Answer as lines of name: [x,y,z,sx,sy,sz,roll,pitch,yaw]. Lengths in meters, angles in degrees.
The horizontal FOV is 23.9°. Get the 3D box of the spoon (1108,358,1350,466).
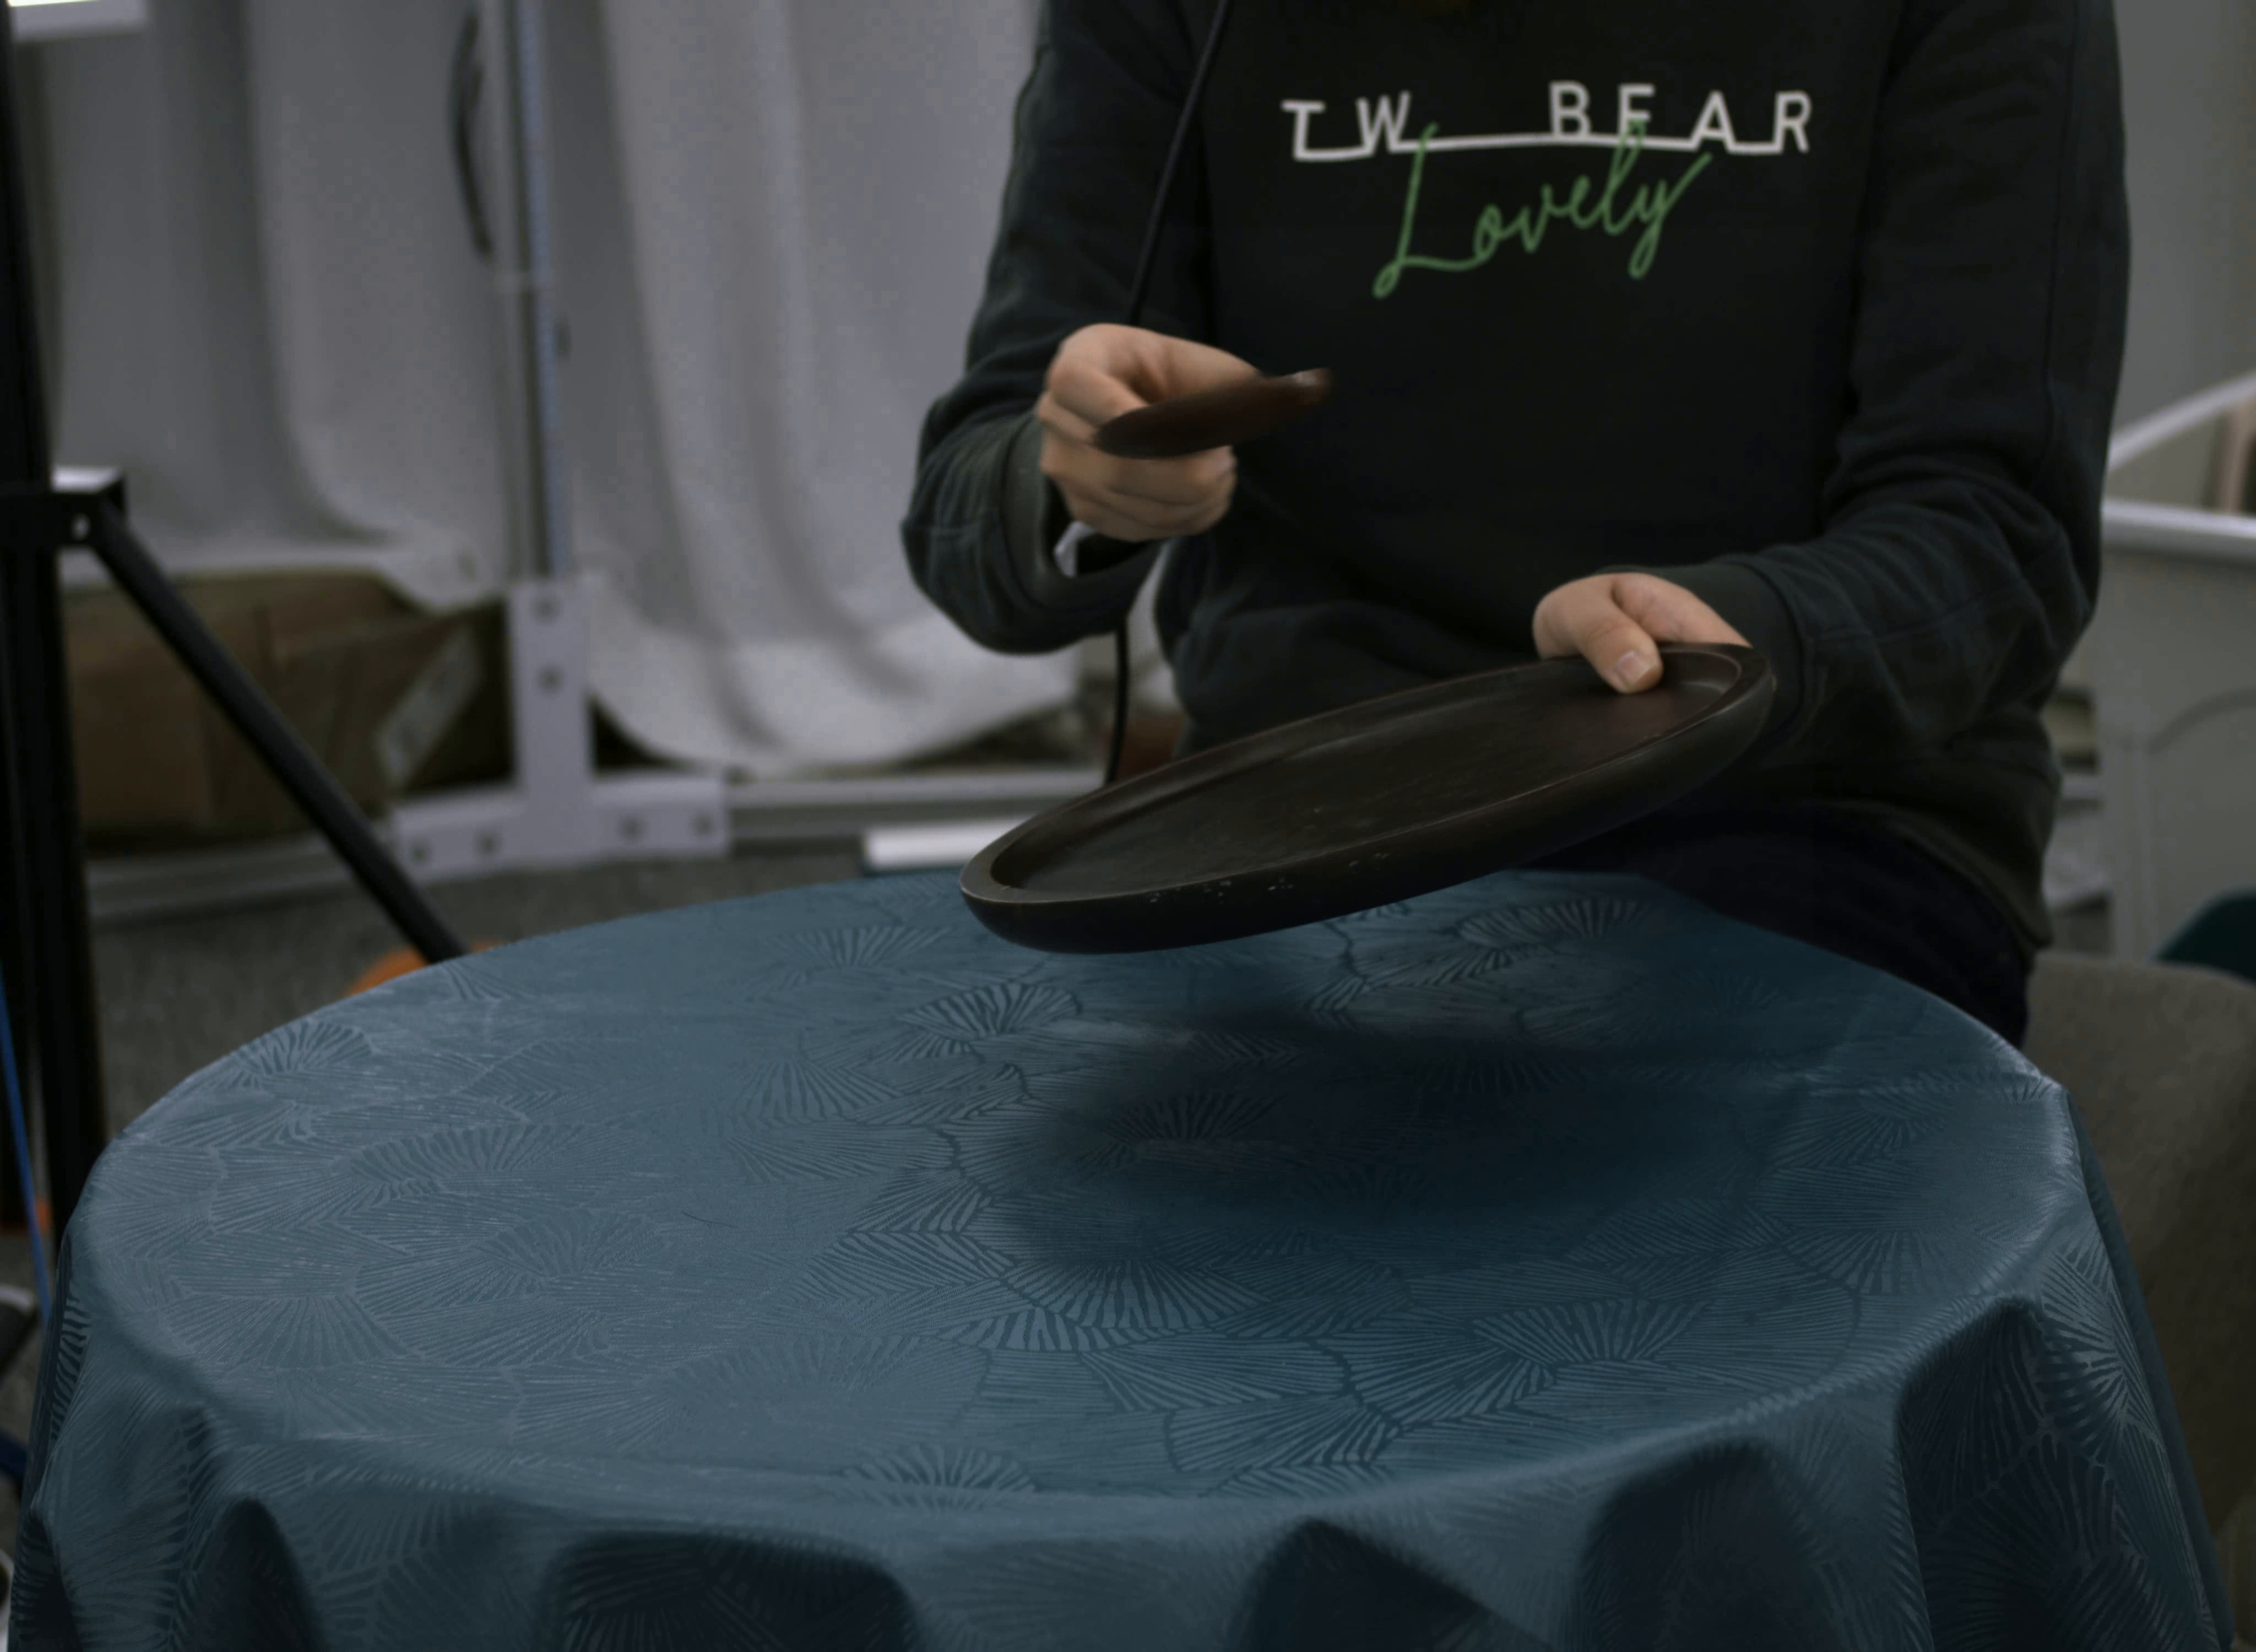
spoon: [0.024,-0.123,1.646,0.075,0.017,0.217,-16,3,-6]

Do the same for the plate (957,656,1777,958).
plate: [0.072,-0.007,1.595,0.254,0.029,0.256,-16,11,1]
